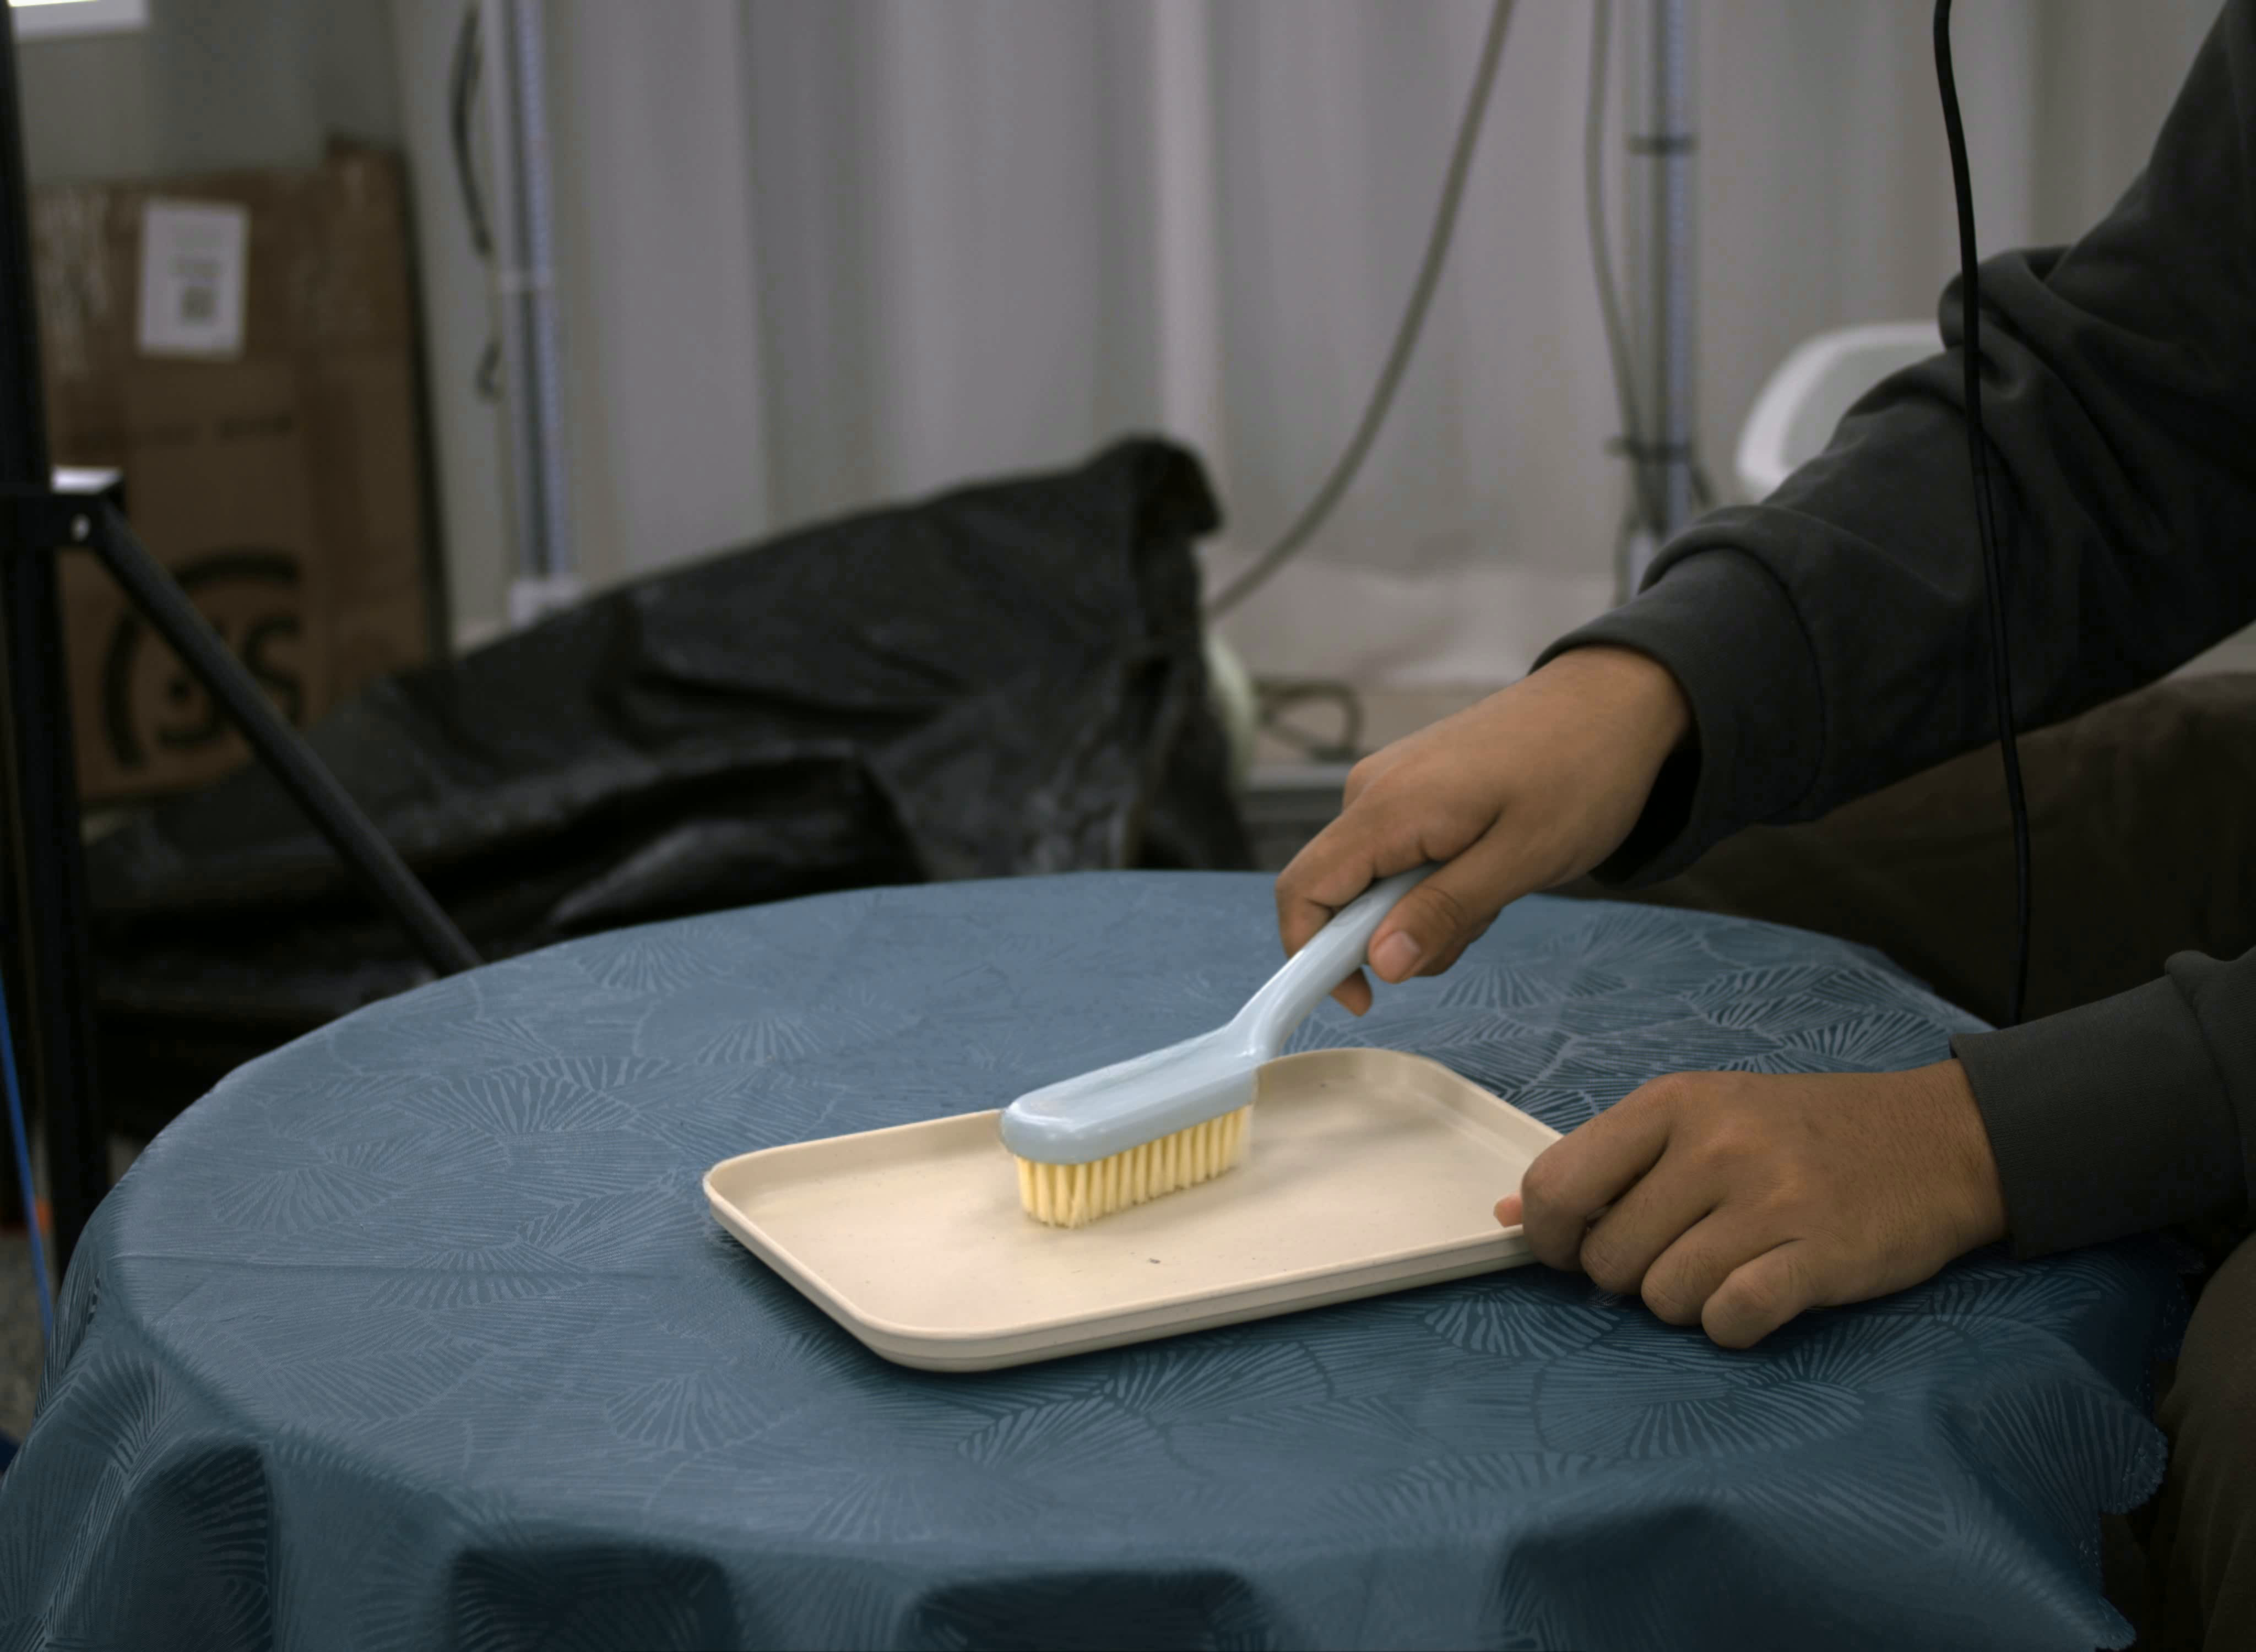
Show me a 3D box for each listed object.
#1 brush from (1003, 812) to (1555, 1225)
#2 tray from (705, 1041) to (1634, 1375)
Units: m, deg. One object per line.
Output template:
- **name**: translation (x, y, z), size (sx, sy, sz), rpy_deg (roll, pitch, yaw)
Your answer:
- **brush**: translation (0.050, 0.056, 1.584), size (0.038, 0.049, 0.225), rpy_deg (15, 39, 43)
- **tray**: translation (0.011, 0.108, 1.519), size (0.235, 0.017, 0.174), rpy_deg (-9, 18, -22)
